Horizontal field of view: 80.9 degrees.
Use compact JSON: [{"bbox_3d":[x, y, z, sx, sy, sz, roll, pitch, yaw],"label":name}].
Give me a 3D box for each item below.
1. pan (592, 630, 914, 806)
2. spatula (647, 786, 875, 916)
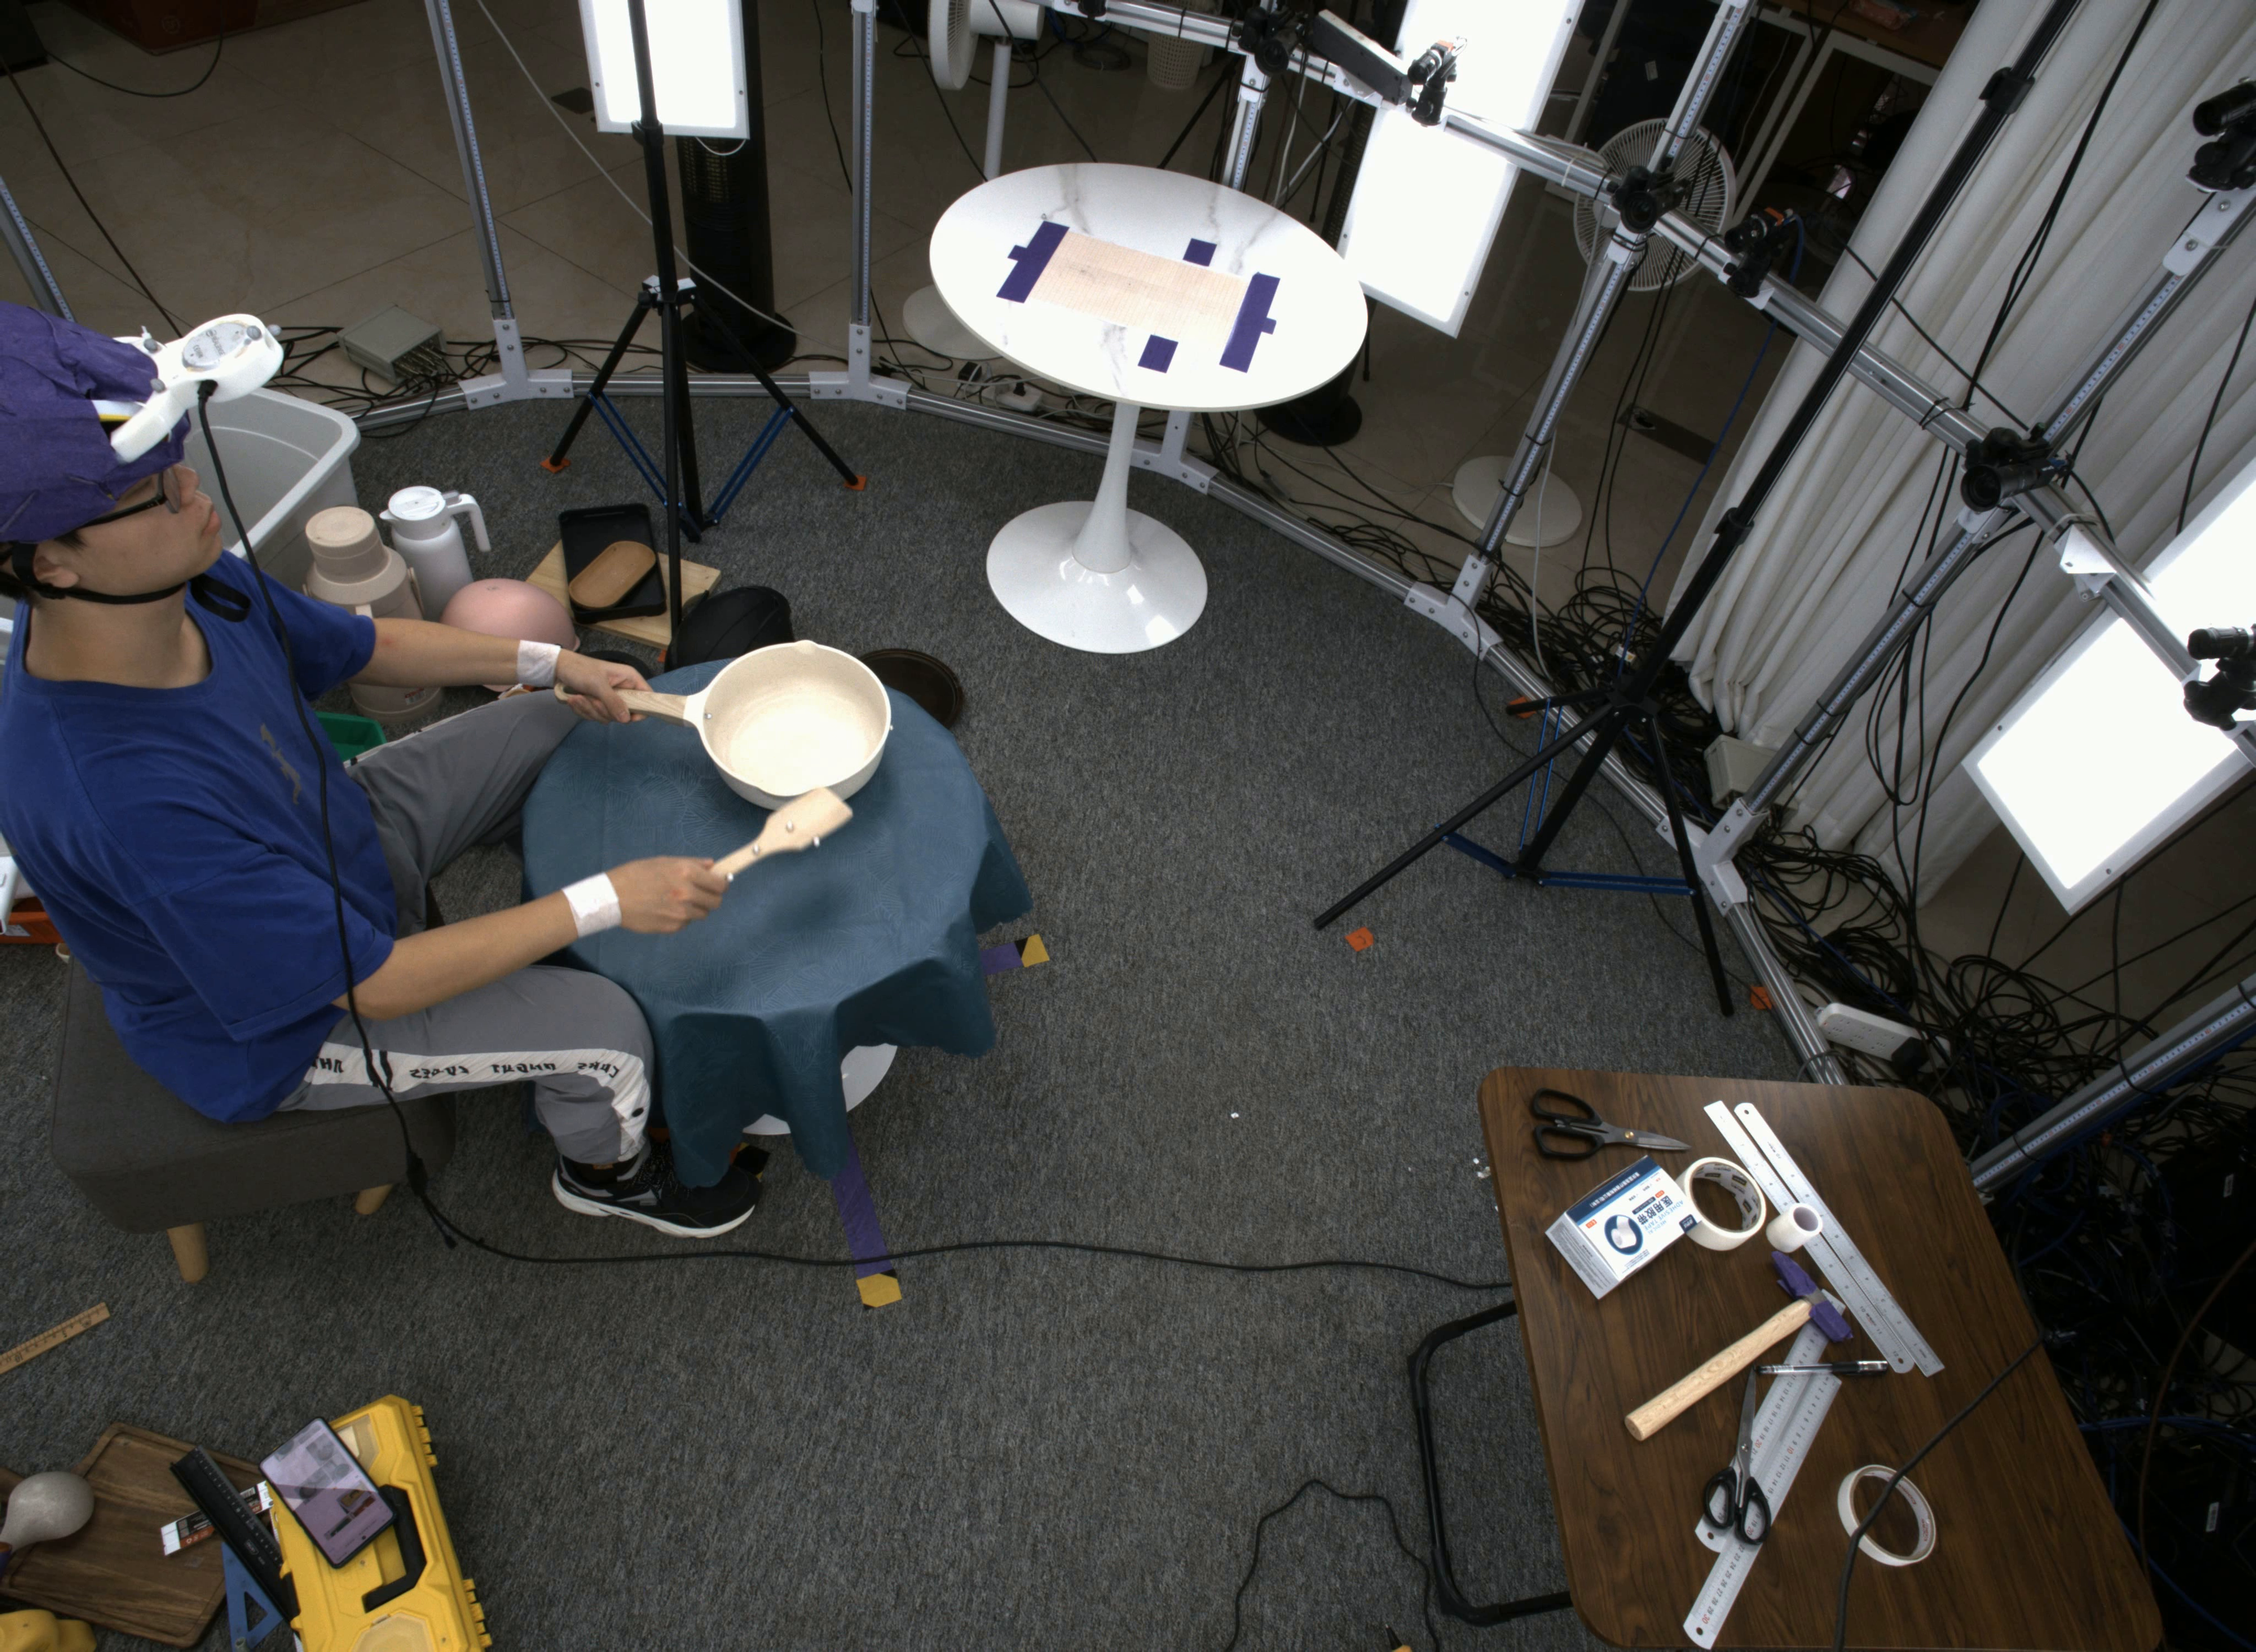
[{"bbox_3d":[-0.507,-0.146,1.749,0.433,0.104,0.259,3,60,-9],"label":"pan"},{"bbox_3d":[-0.440,0.032,1.548,0.294,0.011,0.070,-30,57,-30],"label":"spatula"}]
